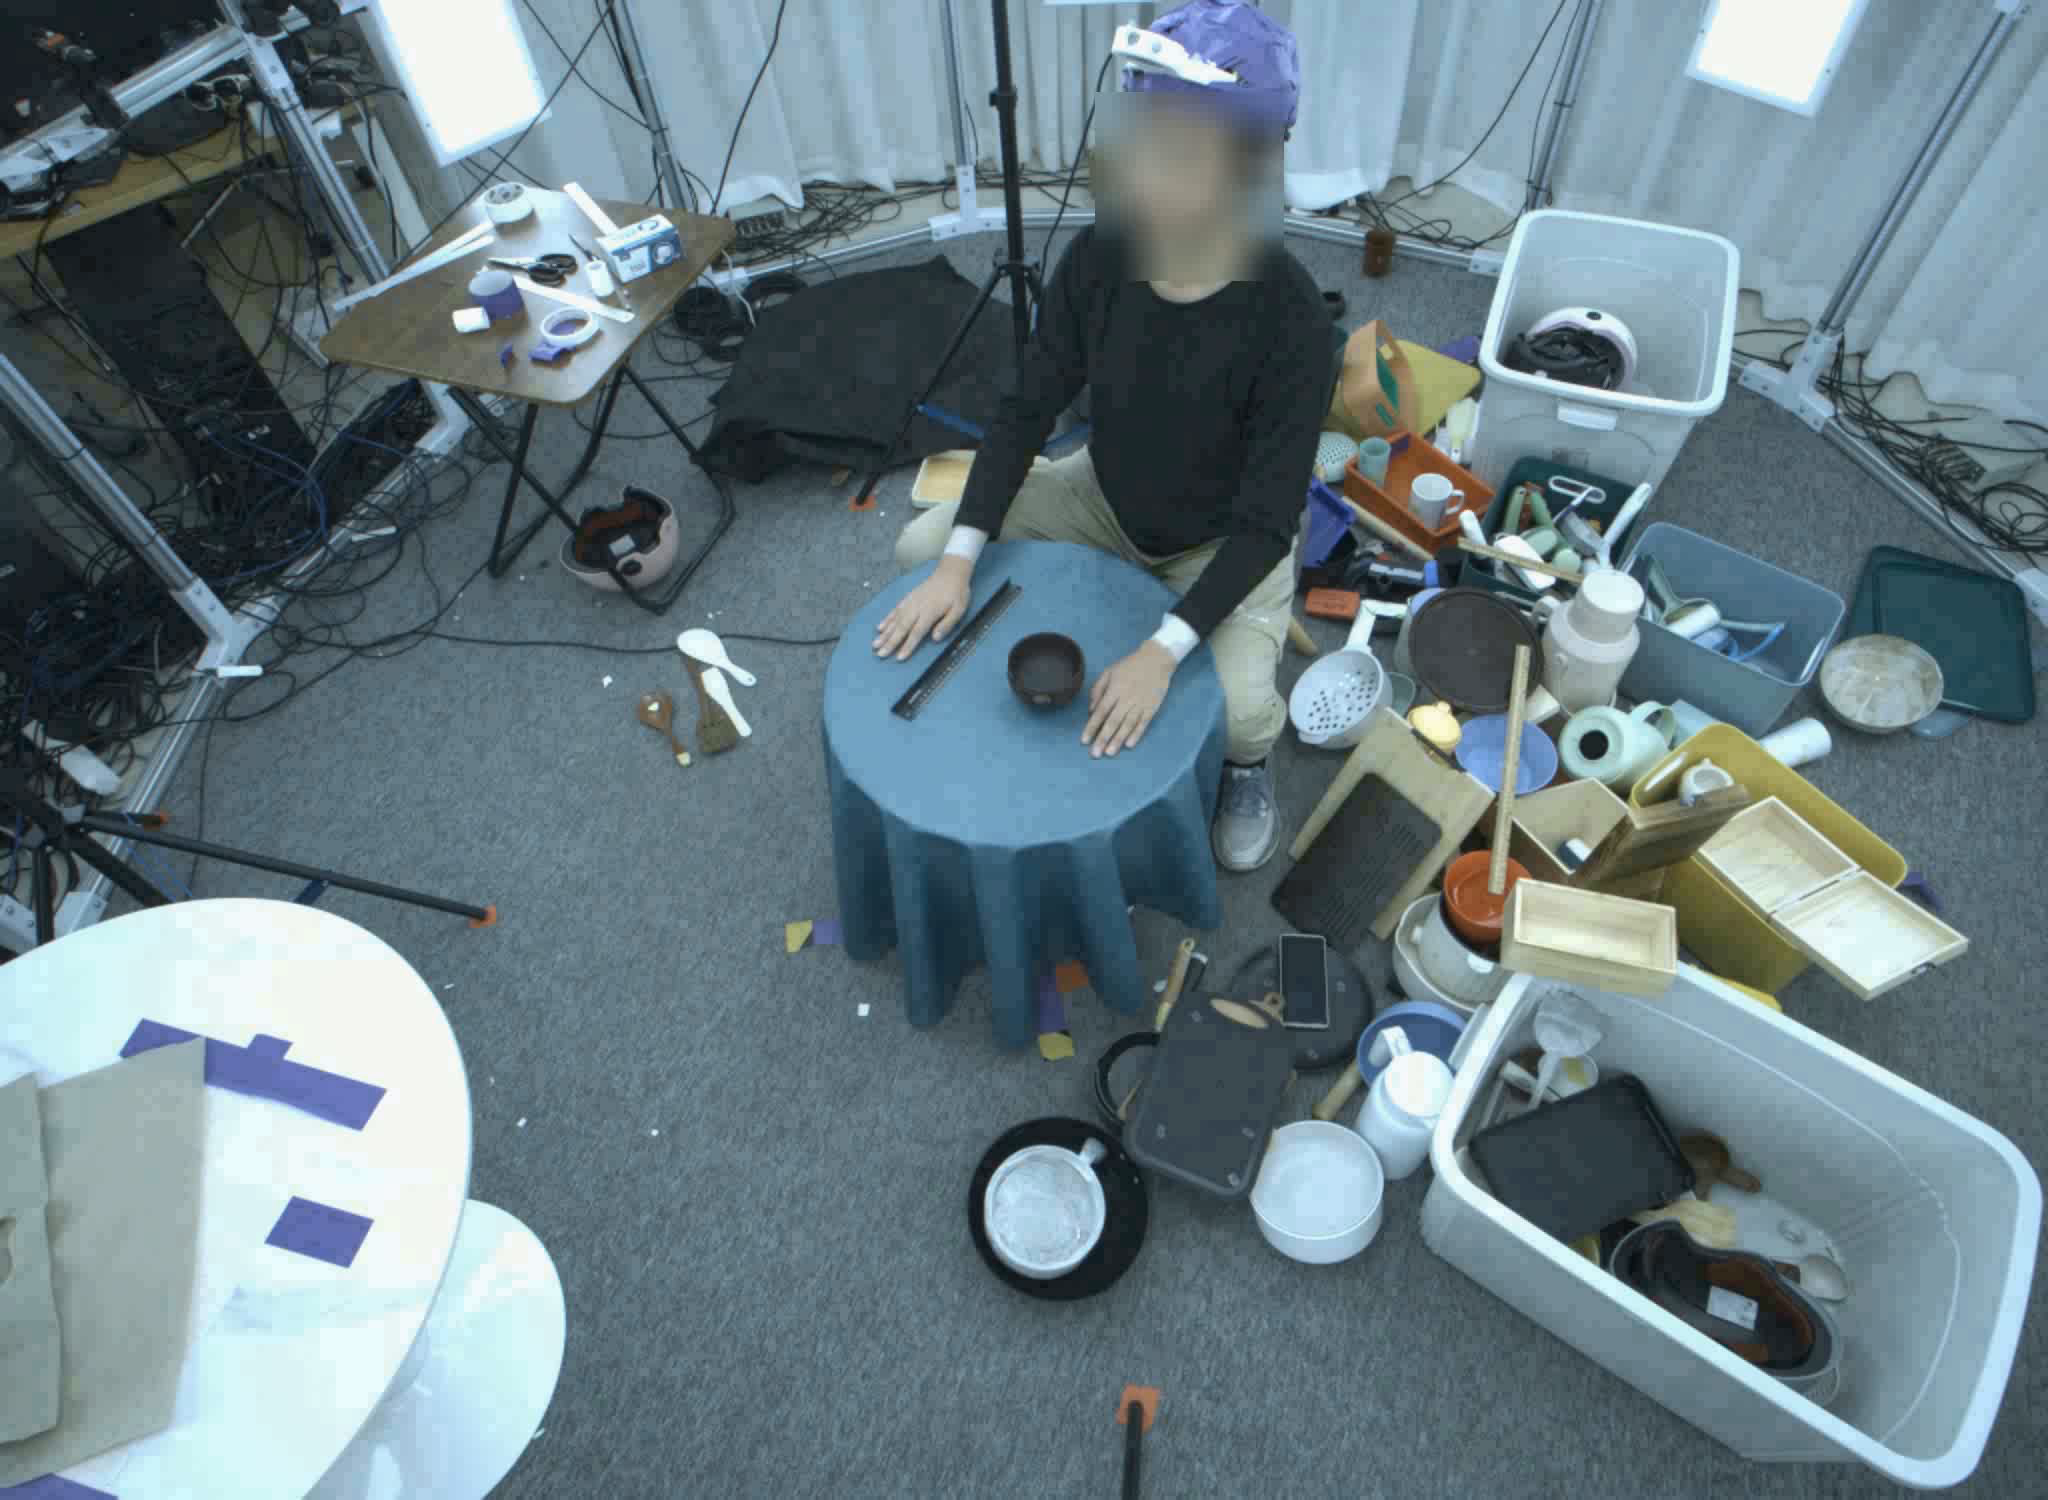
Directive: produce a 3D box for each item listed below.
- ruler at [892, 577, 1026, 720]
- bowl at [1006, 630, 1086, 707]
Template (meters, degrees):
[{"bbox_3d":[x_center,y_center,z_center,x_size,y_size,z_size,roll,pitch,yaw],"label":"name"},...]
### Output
[{"bbox_3d":[-0.098,-0.162,1.896,0.039,0.017,0.314,30,61,16],"label":"ruler"},{"bbox_3d":[0.033,-0.113,1.821,0.118,0.070,0.117,-1,56,2],"label":"bowl"}]
